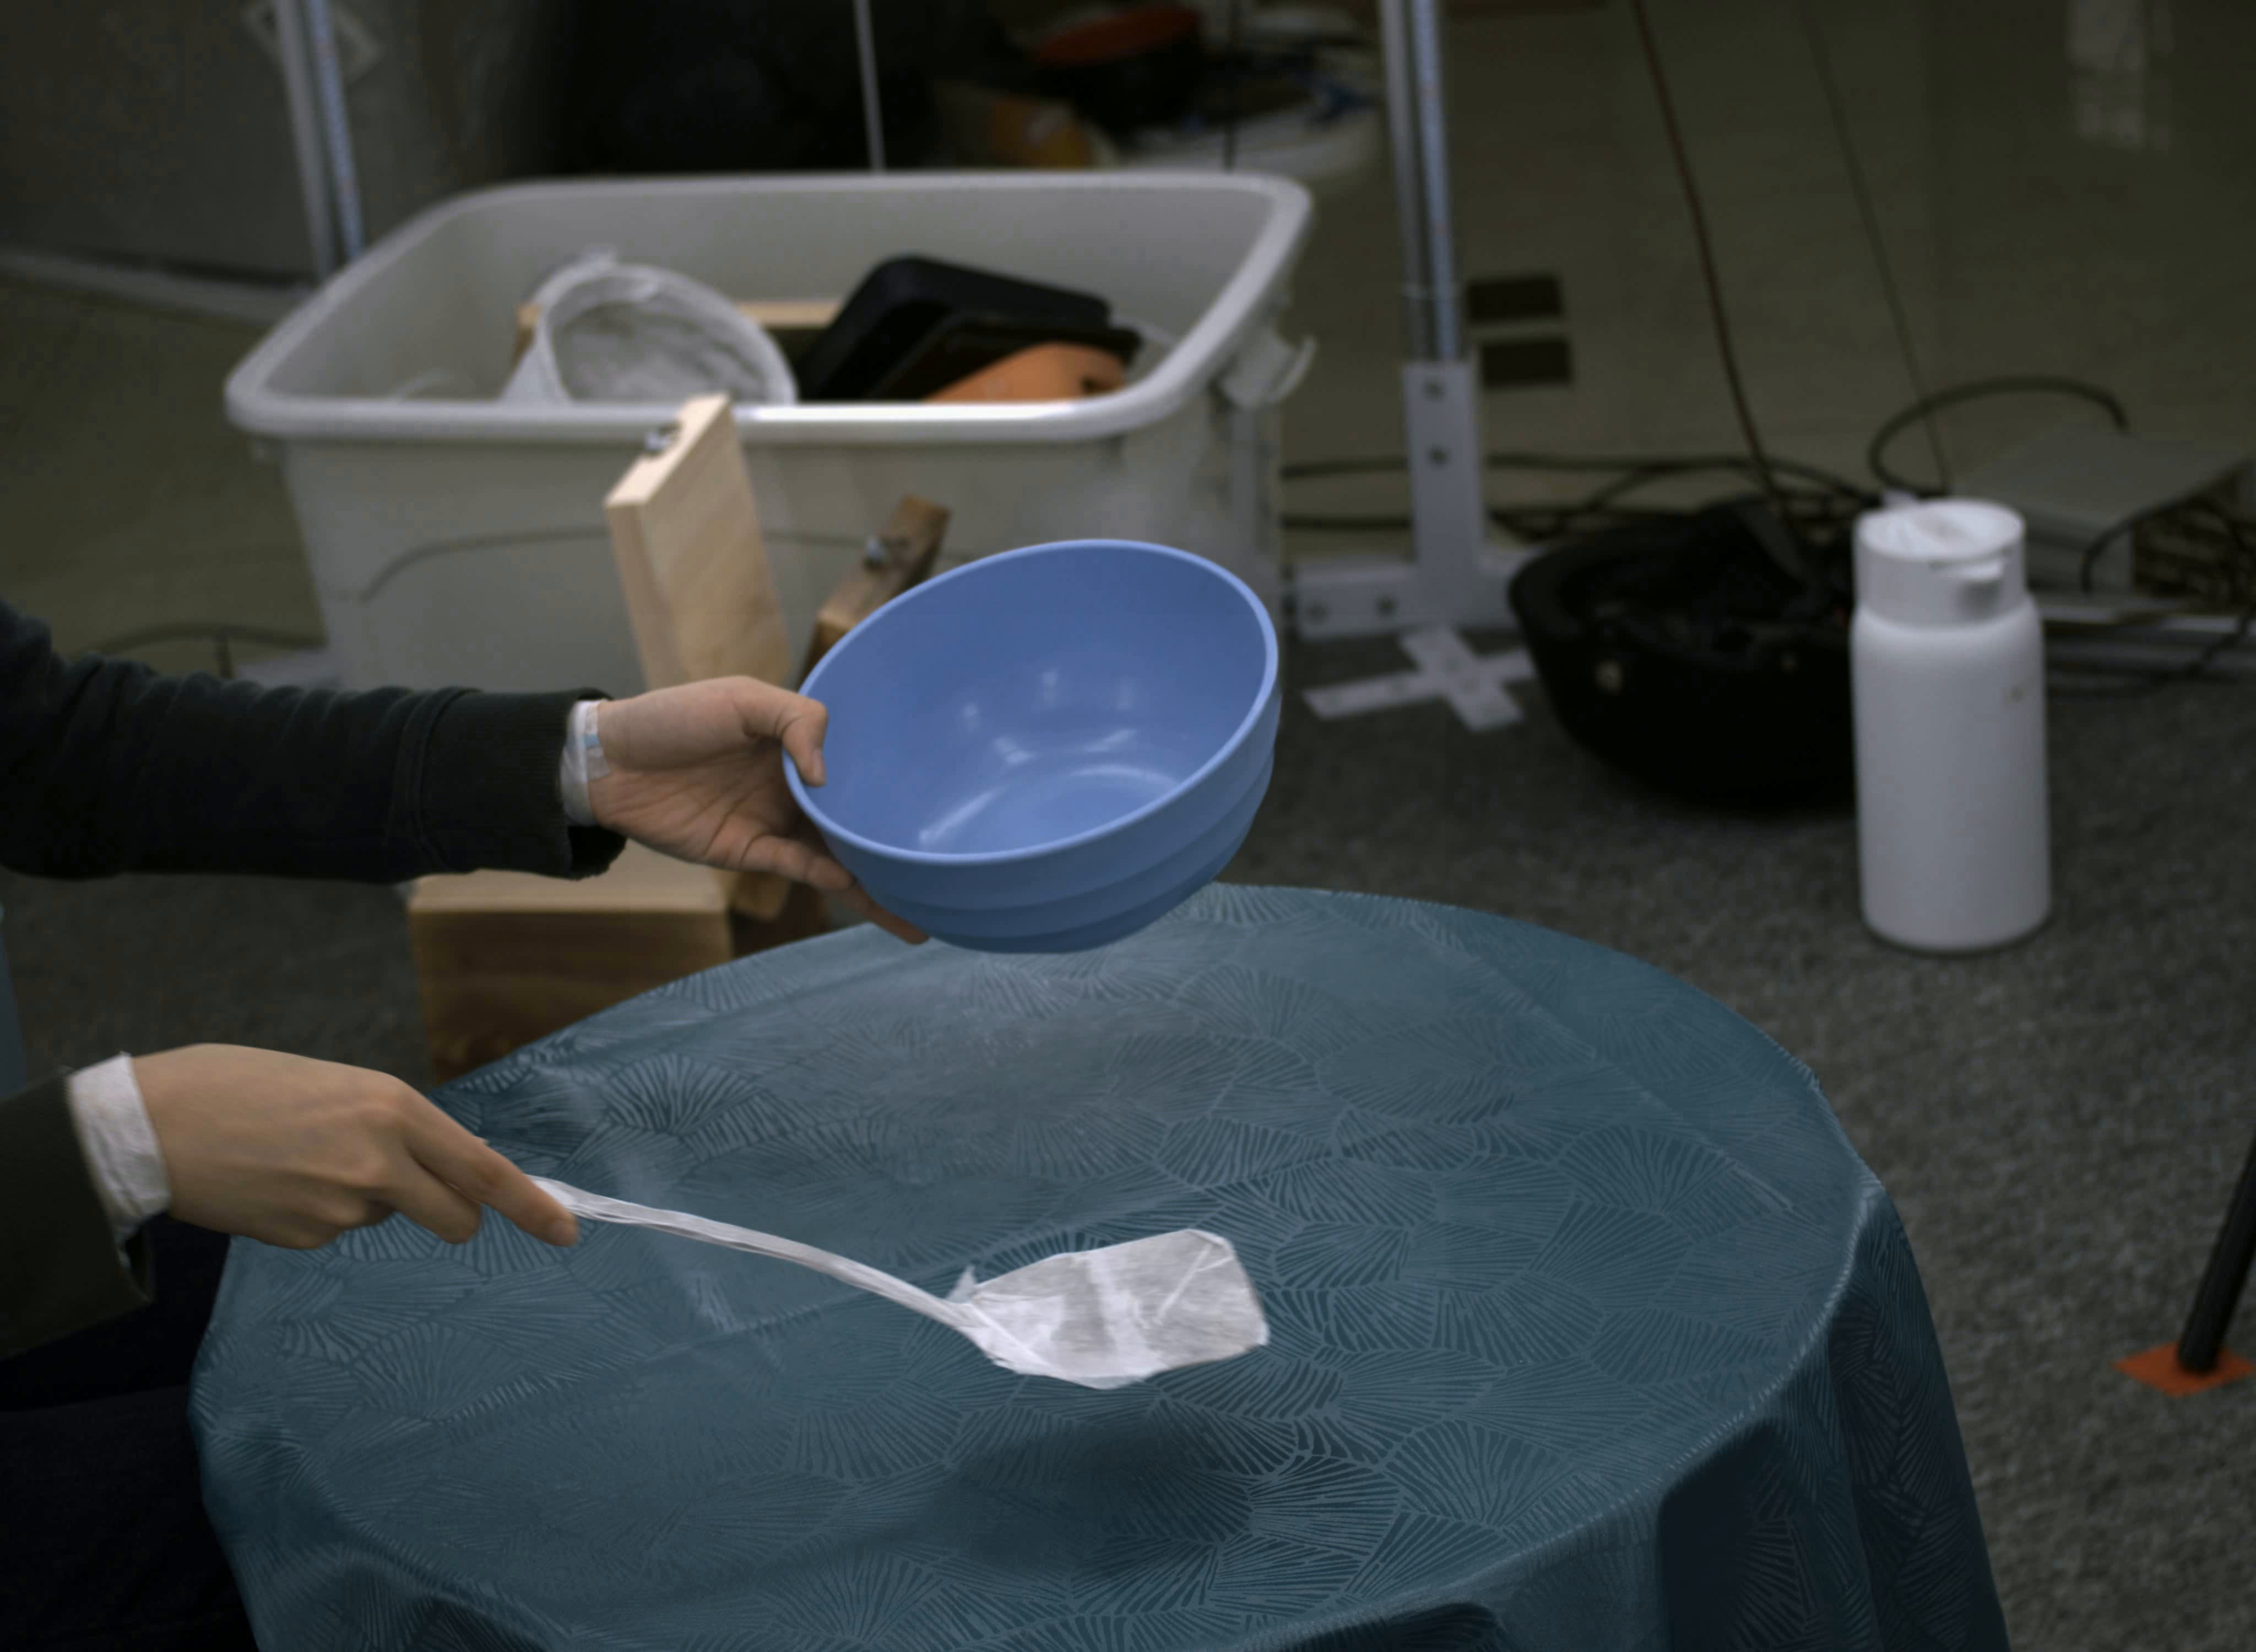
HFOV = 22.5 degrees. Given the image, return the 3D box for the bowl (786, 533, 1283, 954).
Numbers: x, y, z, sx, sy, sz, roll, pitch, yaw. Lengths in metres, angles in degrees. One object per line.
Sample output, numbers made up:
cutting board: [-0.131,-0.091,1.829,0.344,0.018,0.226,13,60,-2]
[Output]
bowl: [-0.027,-0.016,2.202,0.196,0.097,0.193,-9,40,8]

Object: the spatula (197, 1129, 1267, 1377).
spatula: [-0.132,0.134,1.916,0.365,0.045,0.097,15,21,-14]
